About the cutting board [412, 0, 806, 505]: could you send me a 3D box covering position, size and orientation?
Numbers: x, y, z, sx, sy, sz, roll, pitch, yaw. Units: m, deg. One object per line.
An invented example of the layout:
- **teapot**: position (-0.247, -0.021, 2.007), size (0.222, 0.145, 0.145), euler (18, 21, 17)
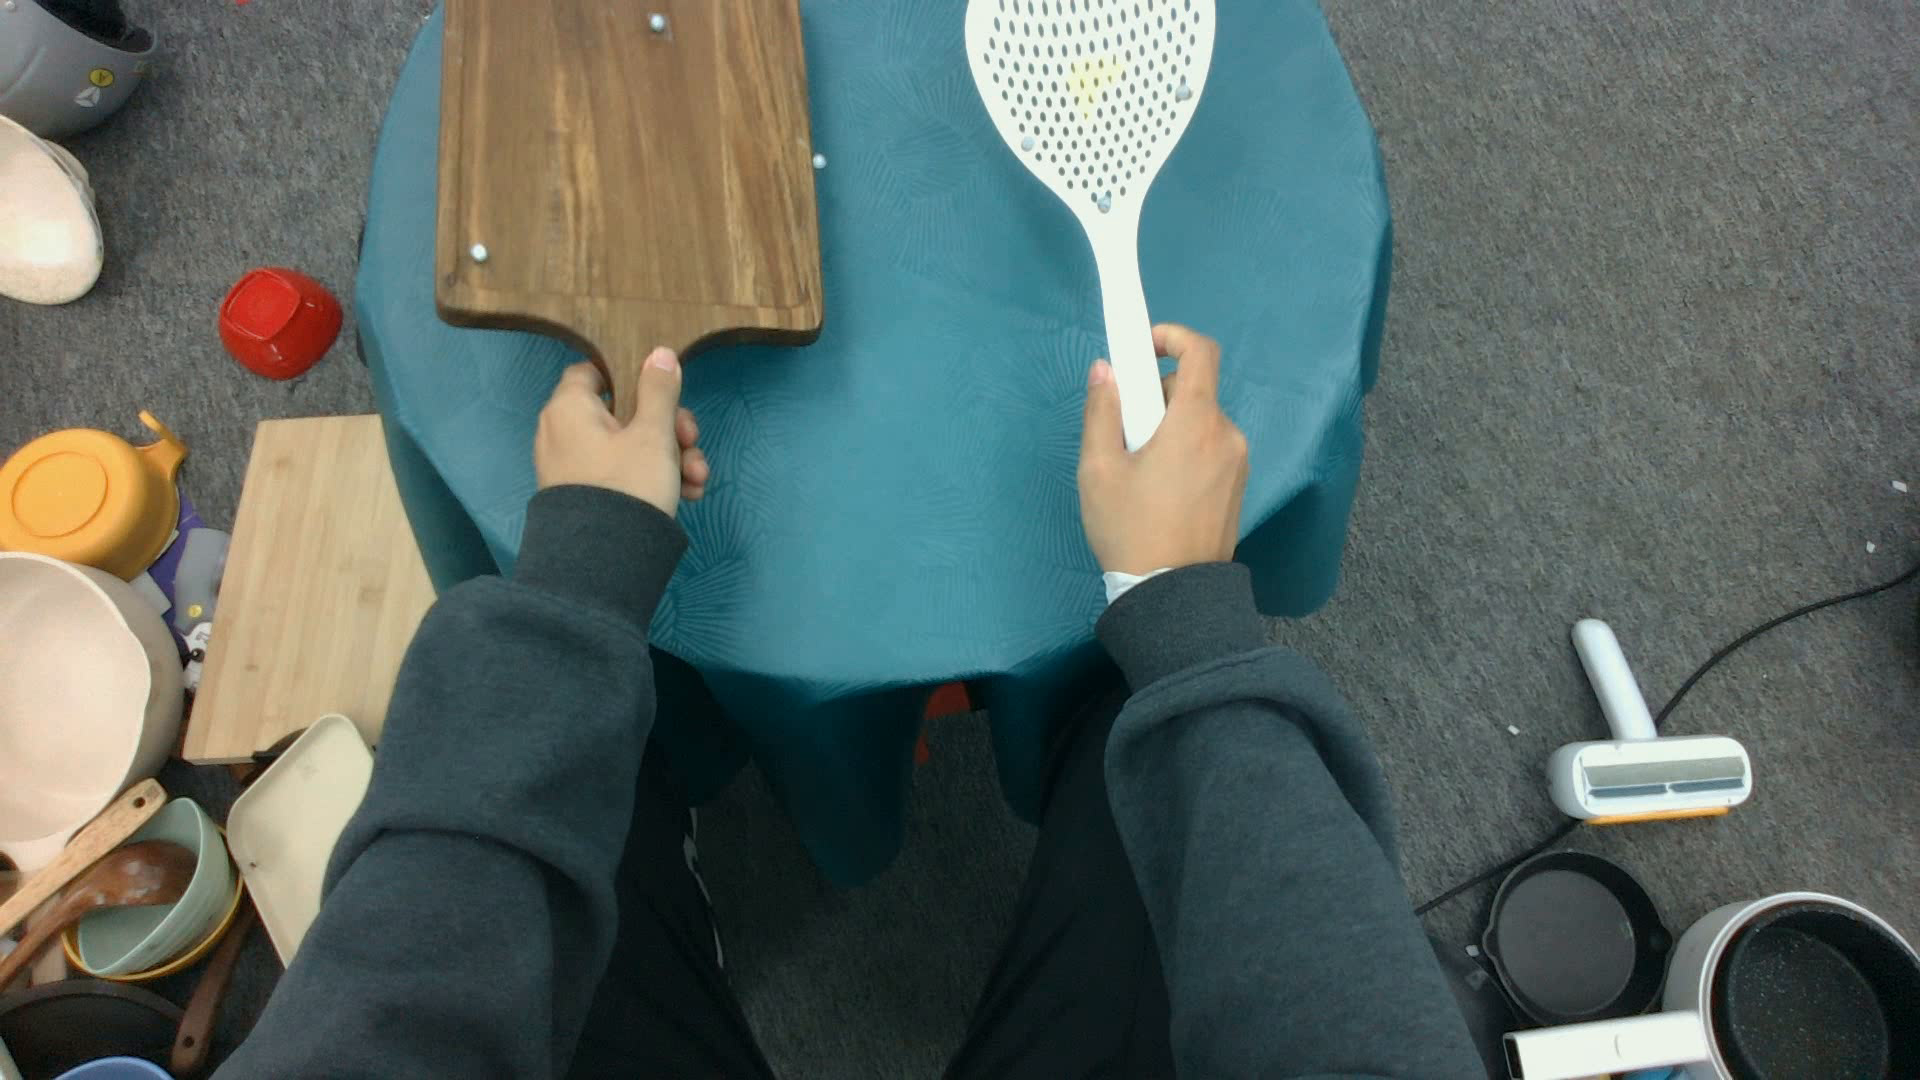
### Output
- **cutting board**: position (-0.189, -0.182, 0.742), size (0.201, 0.023, 0.353), euler (-1, 67, -17)

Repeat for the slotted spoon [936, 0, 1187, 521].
- **slotted spoon**: position (0.071, -0.178, 0.731), size (0.137, 0.050, 0.349), euler (-9, 69, 4)
